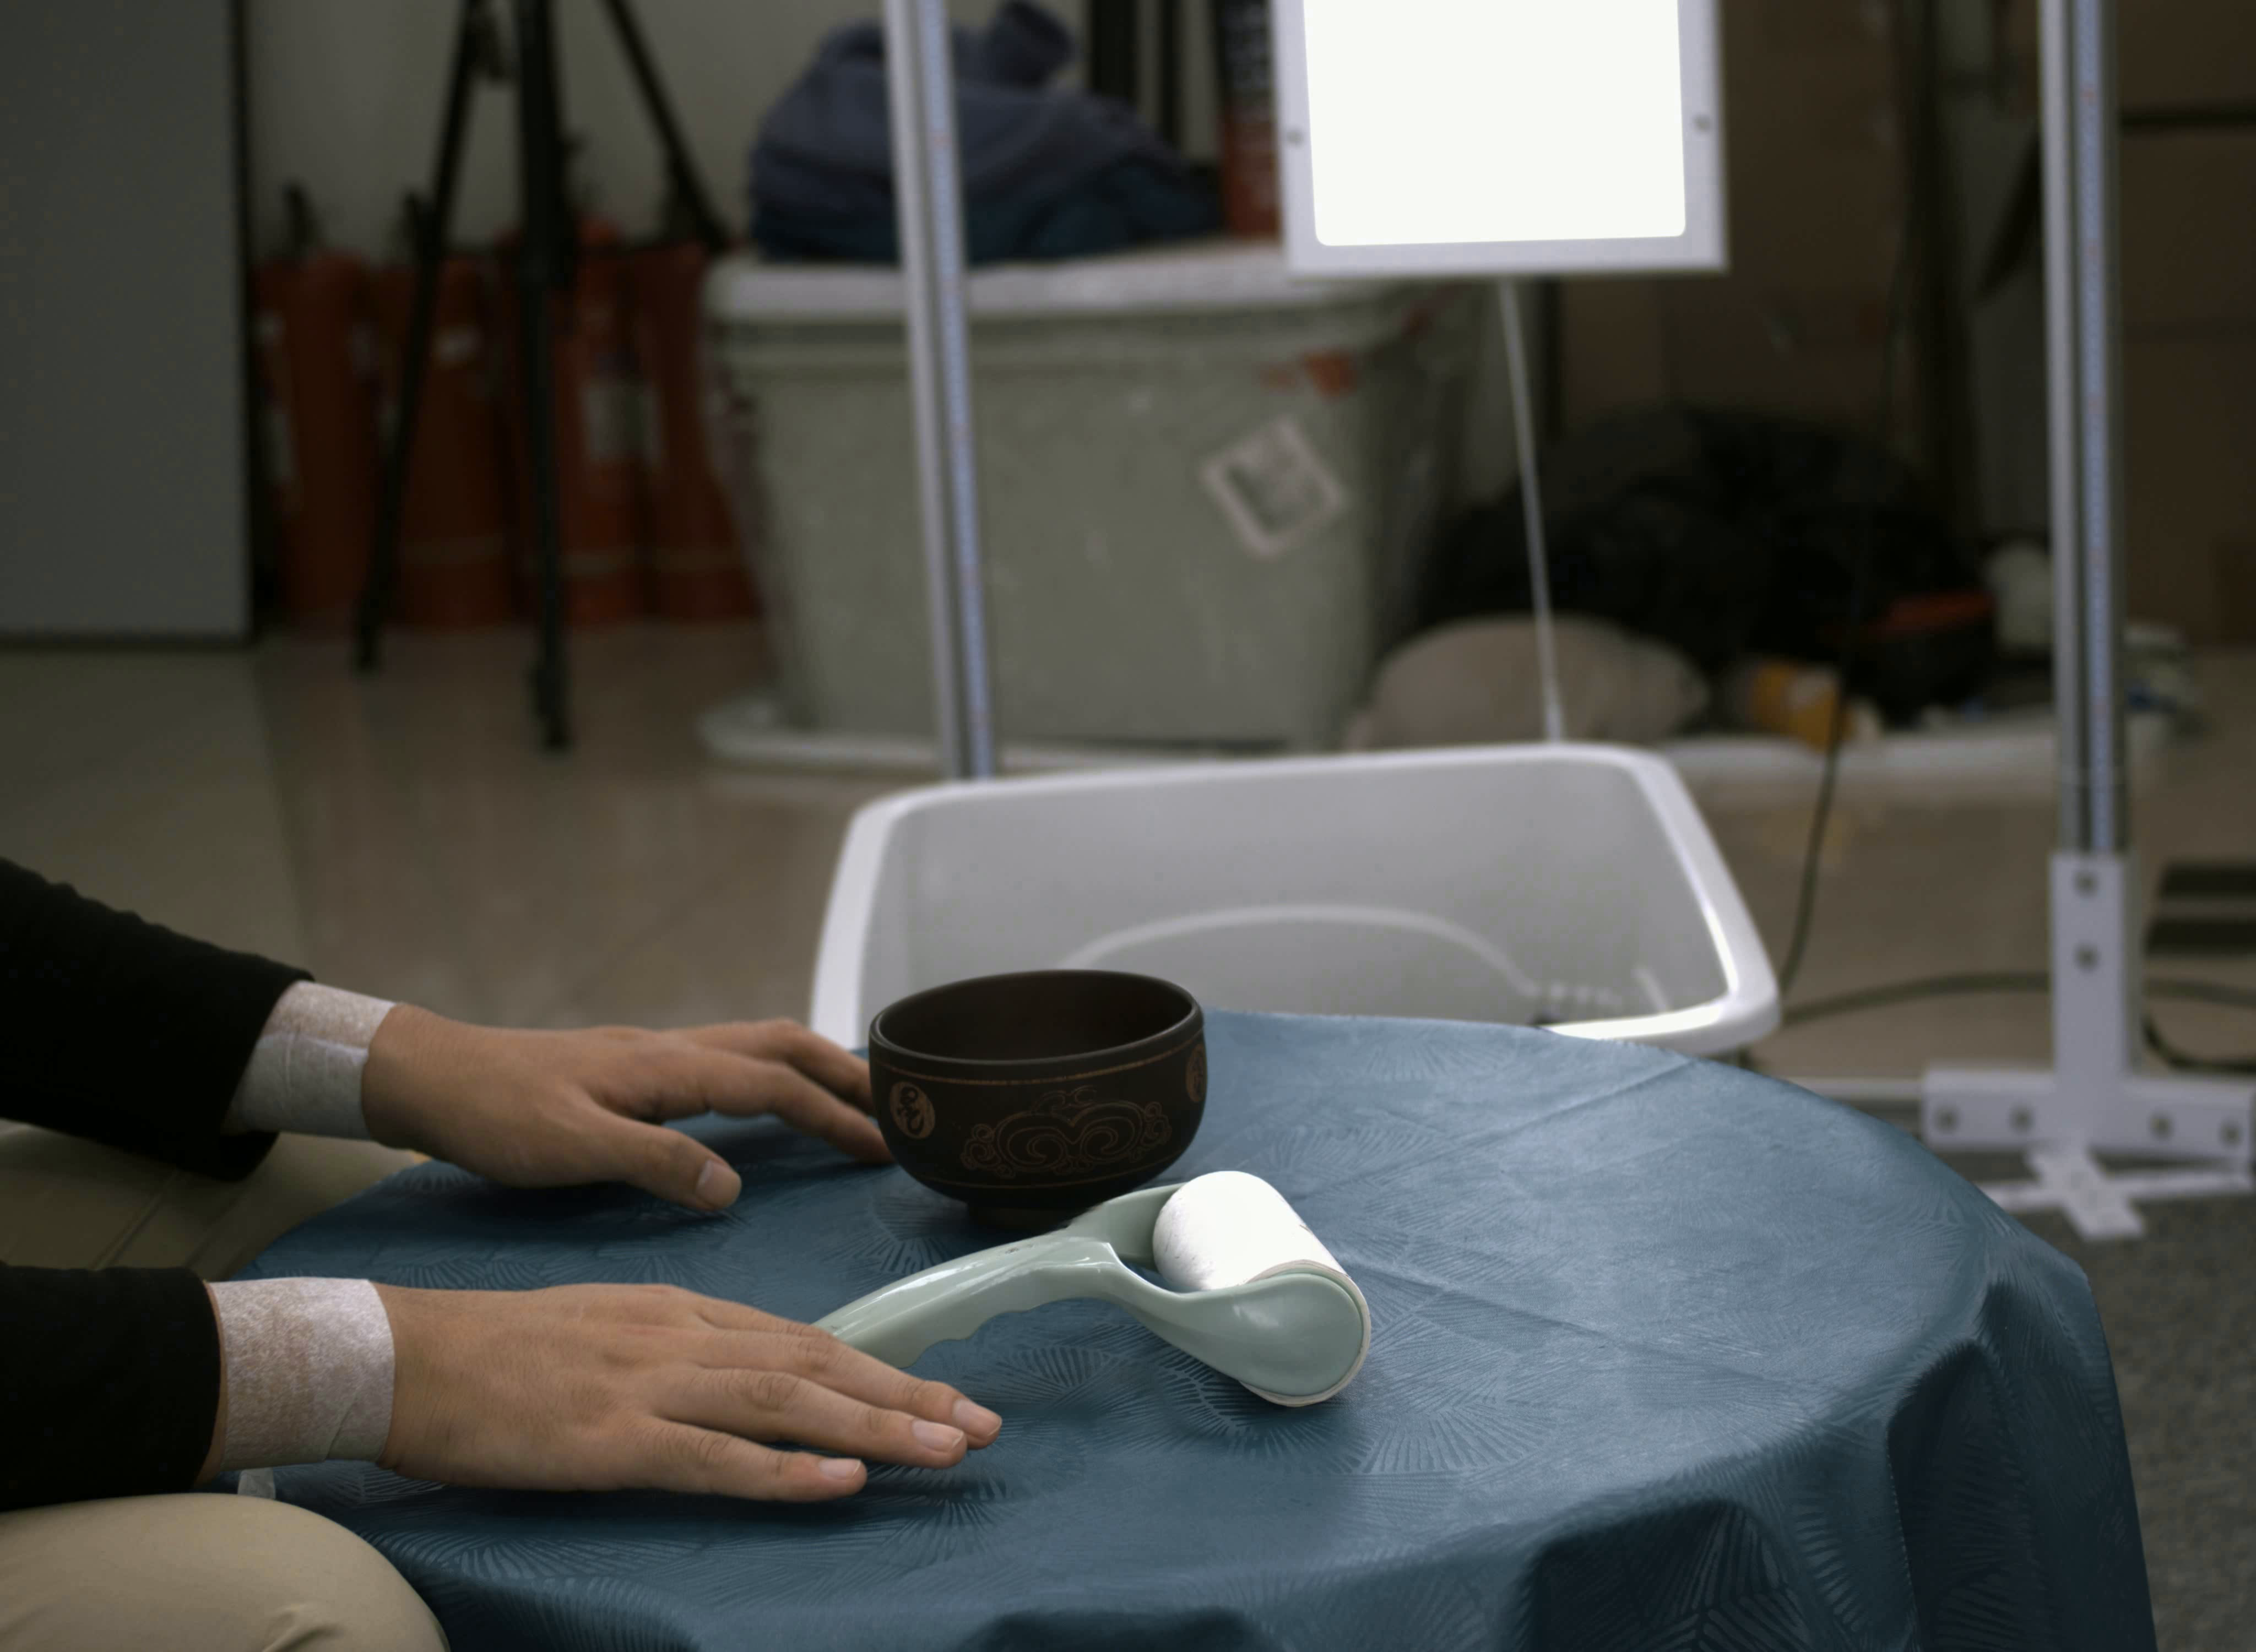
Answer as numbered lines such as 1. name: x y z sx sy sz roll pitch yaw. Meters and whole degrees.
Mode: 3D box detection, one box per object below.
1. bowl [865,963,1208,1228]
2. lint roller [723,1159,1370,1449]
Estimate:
1. bowl: -0.030 0.096 1.883 0.118 0.070 0.118 -6 15 0
2. lint roller: -0.031 0.152 1.713 0.195 0.048 0.117 -9 15 -9
